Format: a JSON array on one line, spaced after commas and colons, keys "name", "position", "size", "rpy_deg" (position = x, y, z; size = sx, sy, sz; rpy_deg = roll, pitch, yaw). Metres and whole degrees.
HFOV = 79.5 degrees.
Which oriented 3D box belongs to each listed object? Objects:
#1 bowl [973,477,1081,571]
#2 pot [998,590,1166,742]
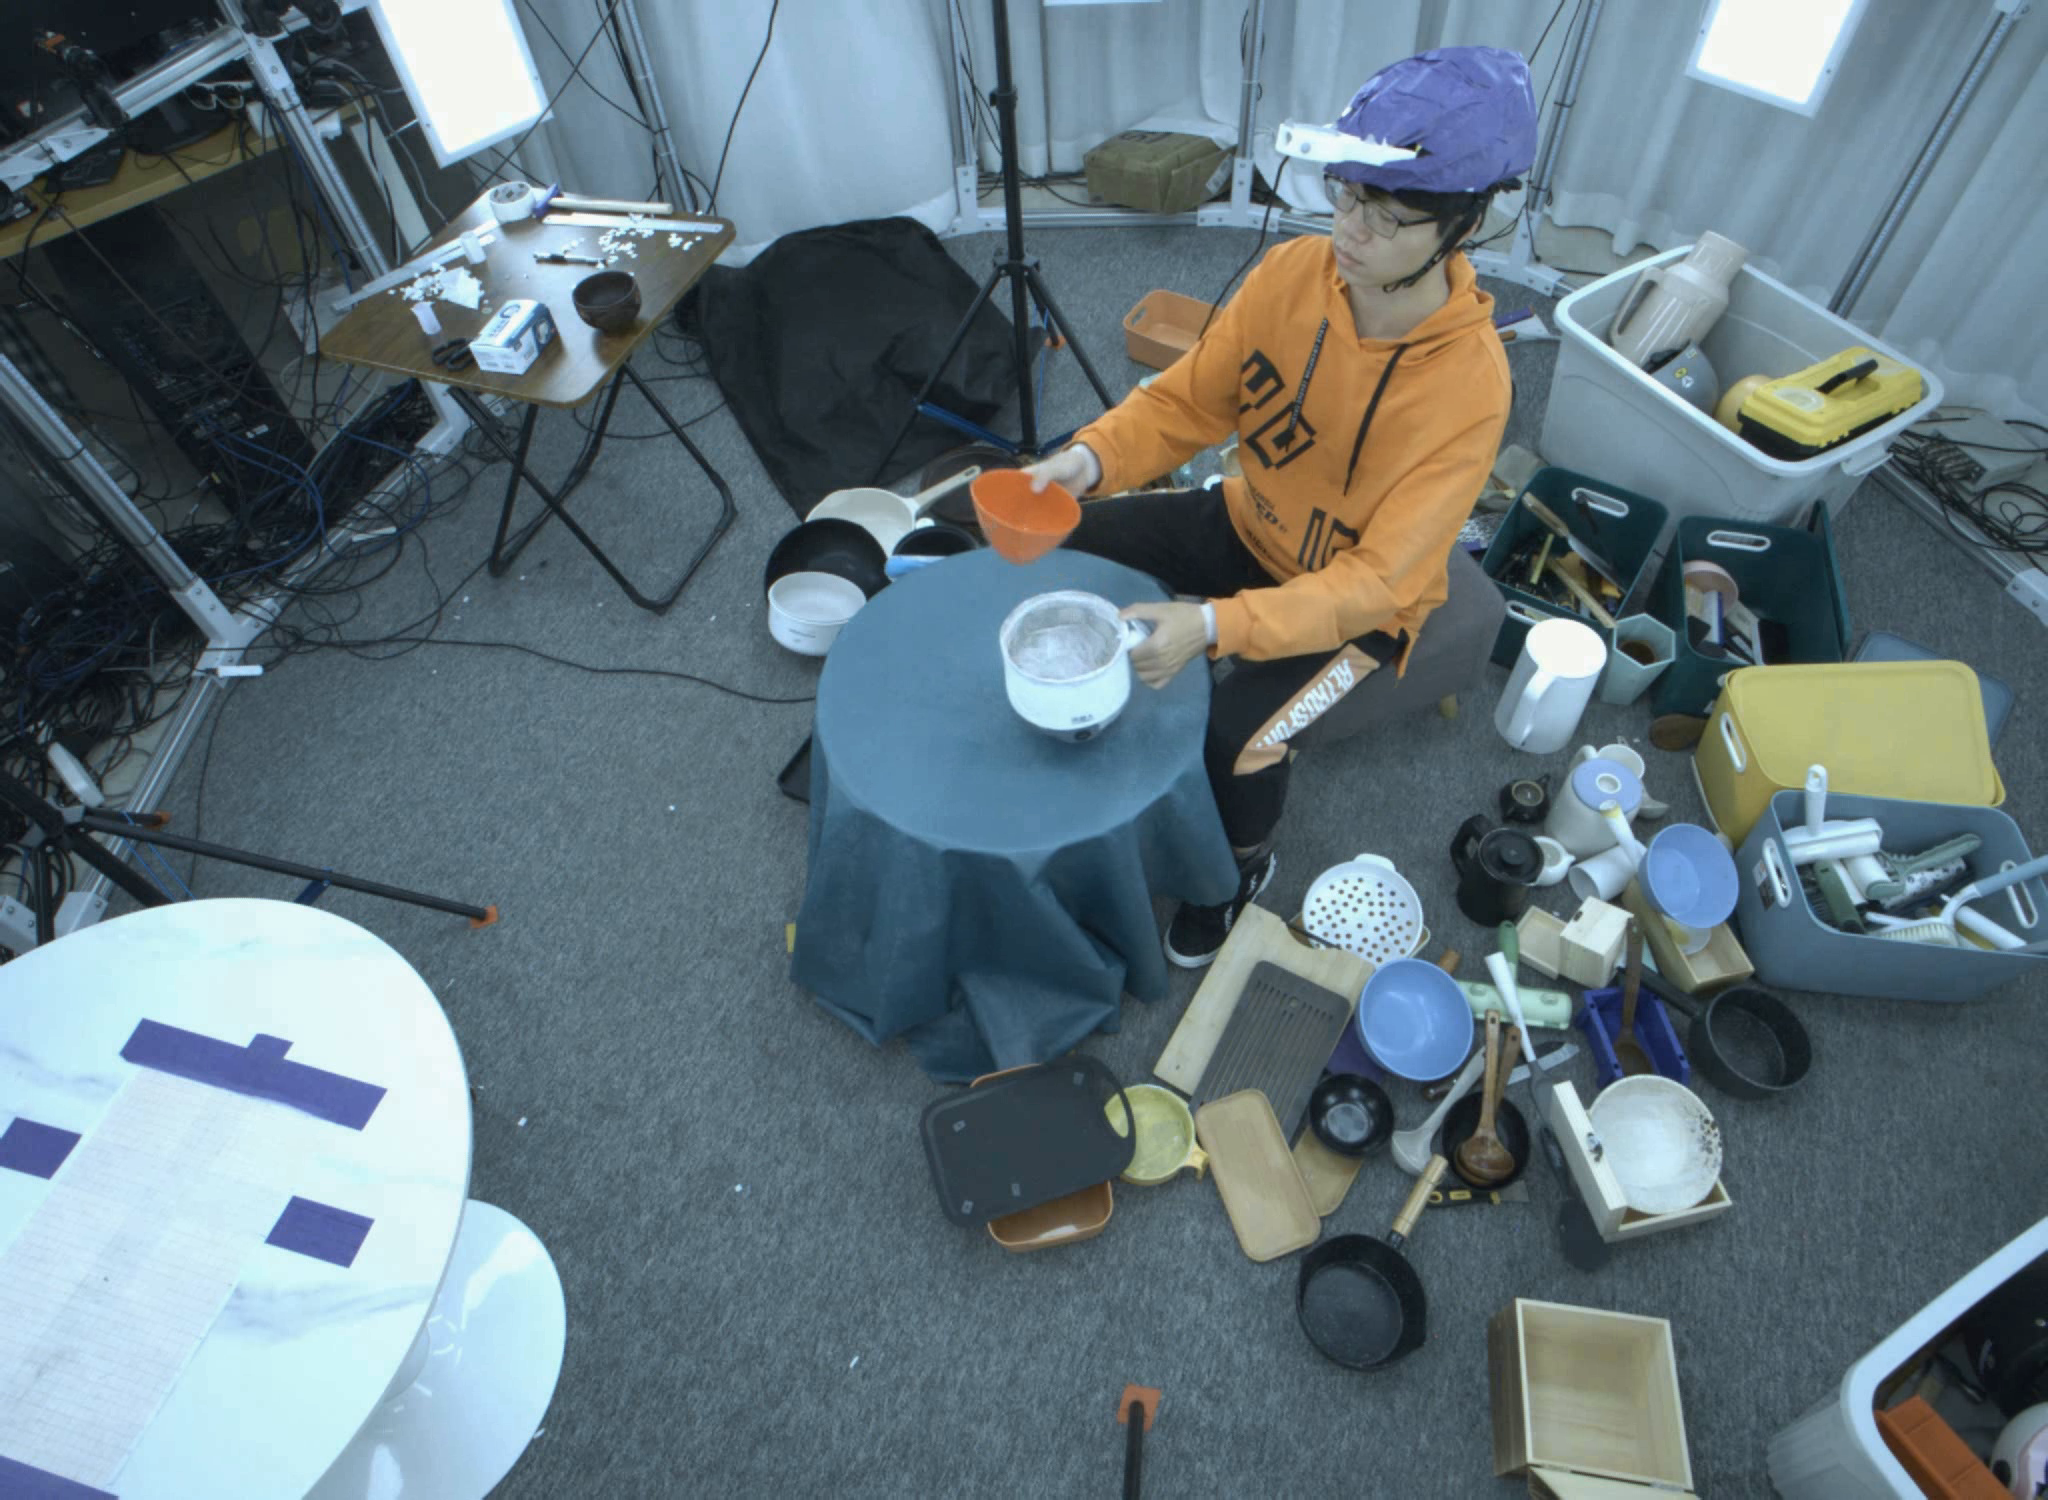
[{"name": "bowl", "position": [-0.005, -0.291, 1.632], "size": [0.149, 0.105, 0.146], "rpy_deg": [9, 51, -10]}, {"name": "pot", "position": [0.085, -0.124, 1.735], "size": [0.235, 0.138, 0.176], "rpy_deg": [-14, 52, -6]}]
